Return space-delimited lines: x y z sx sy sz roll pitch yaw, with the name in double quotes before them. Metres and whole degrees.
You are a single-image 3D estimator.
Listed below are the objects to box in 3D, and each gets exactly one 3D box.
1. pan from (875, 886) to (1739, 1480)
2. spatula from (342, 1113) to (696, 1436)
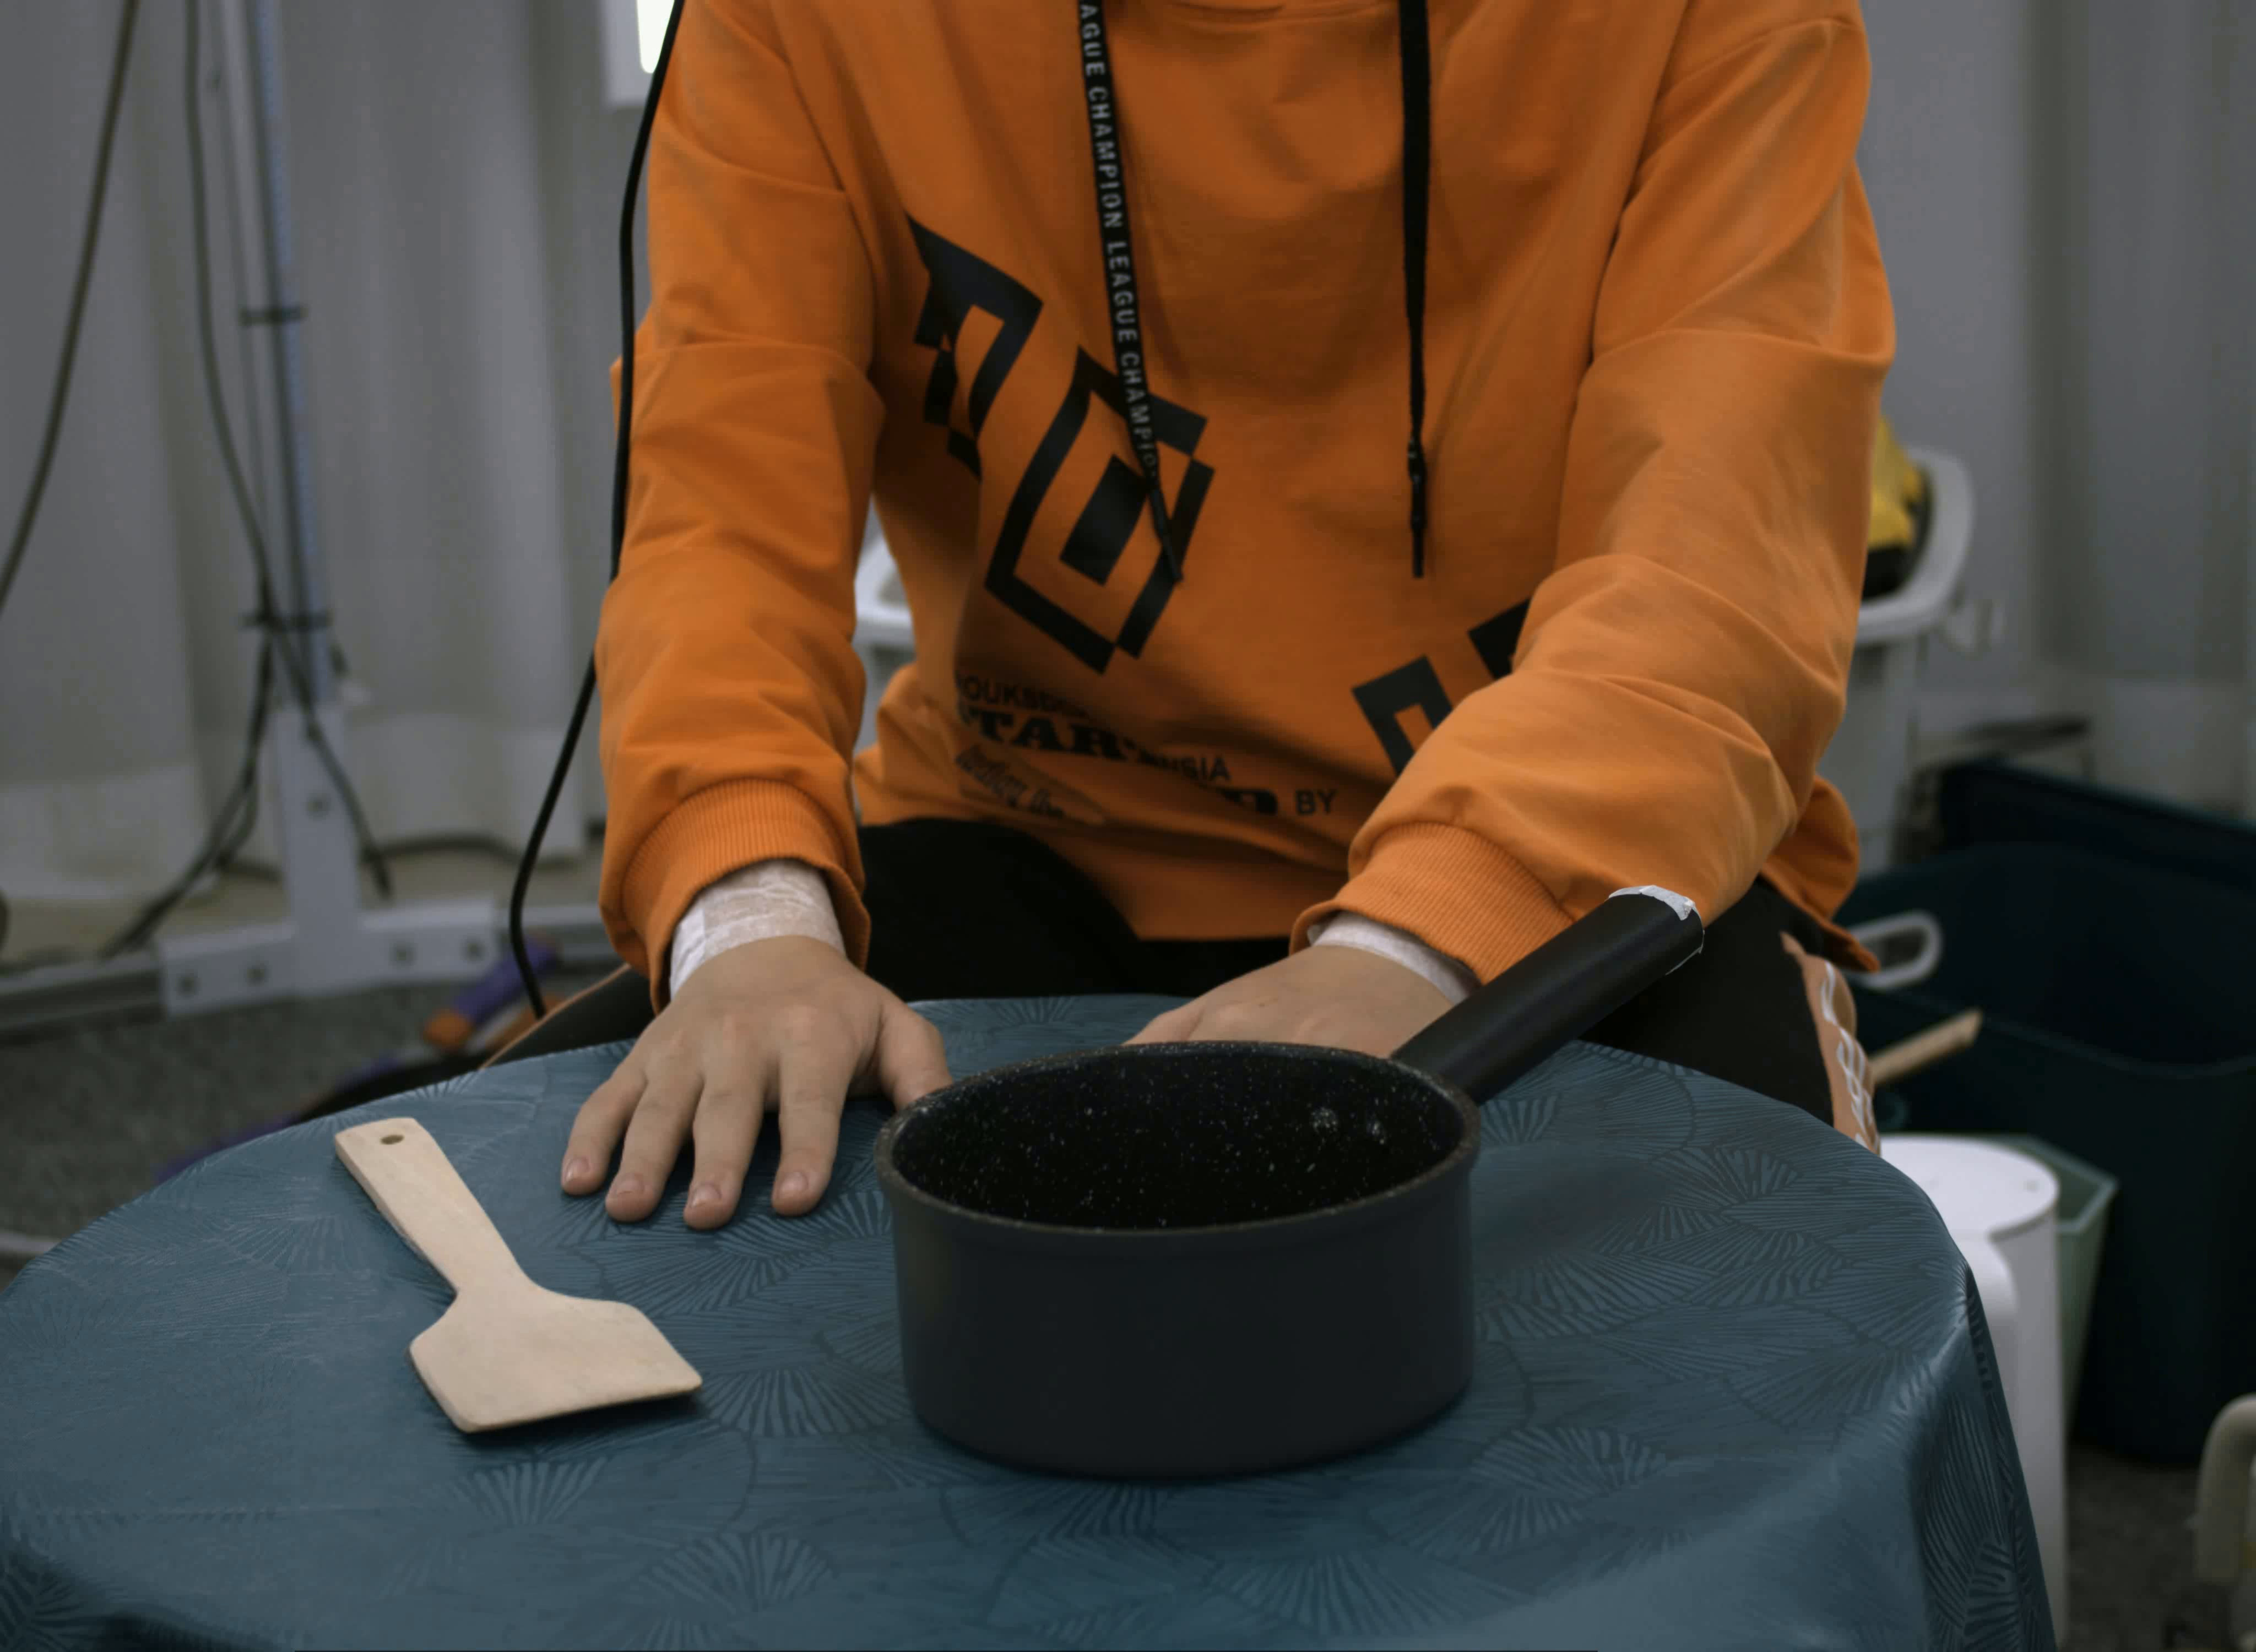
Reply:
"pan" 0.069 0.100 1.596 0.173 0.086 0.328 11 22 41
"spatula" -0.201 0.133 1.670 0.072 0.010 0.295 -11 17 -17
